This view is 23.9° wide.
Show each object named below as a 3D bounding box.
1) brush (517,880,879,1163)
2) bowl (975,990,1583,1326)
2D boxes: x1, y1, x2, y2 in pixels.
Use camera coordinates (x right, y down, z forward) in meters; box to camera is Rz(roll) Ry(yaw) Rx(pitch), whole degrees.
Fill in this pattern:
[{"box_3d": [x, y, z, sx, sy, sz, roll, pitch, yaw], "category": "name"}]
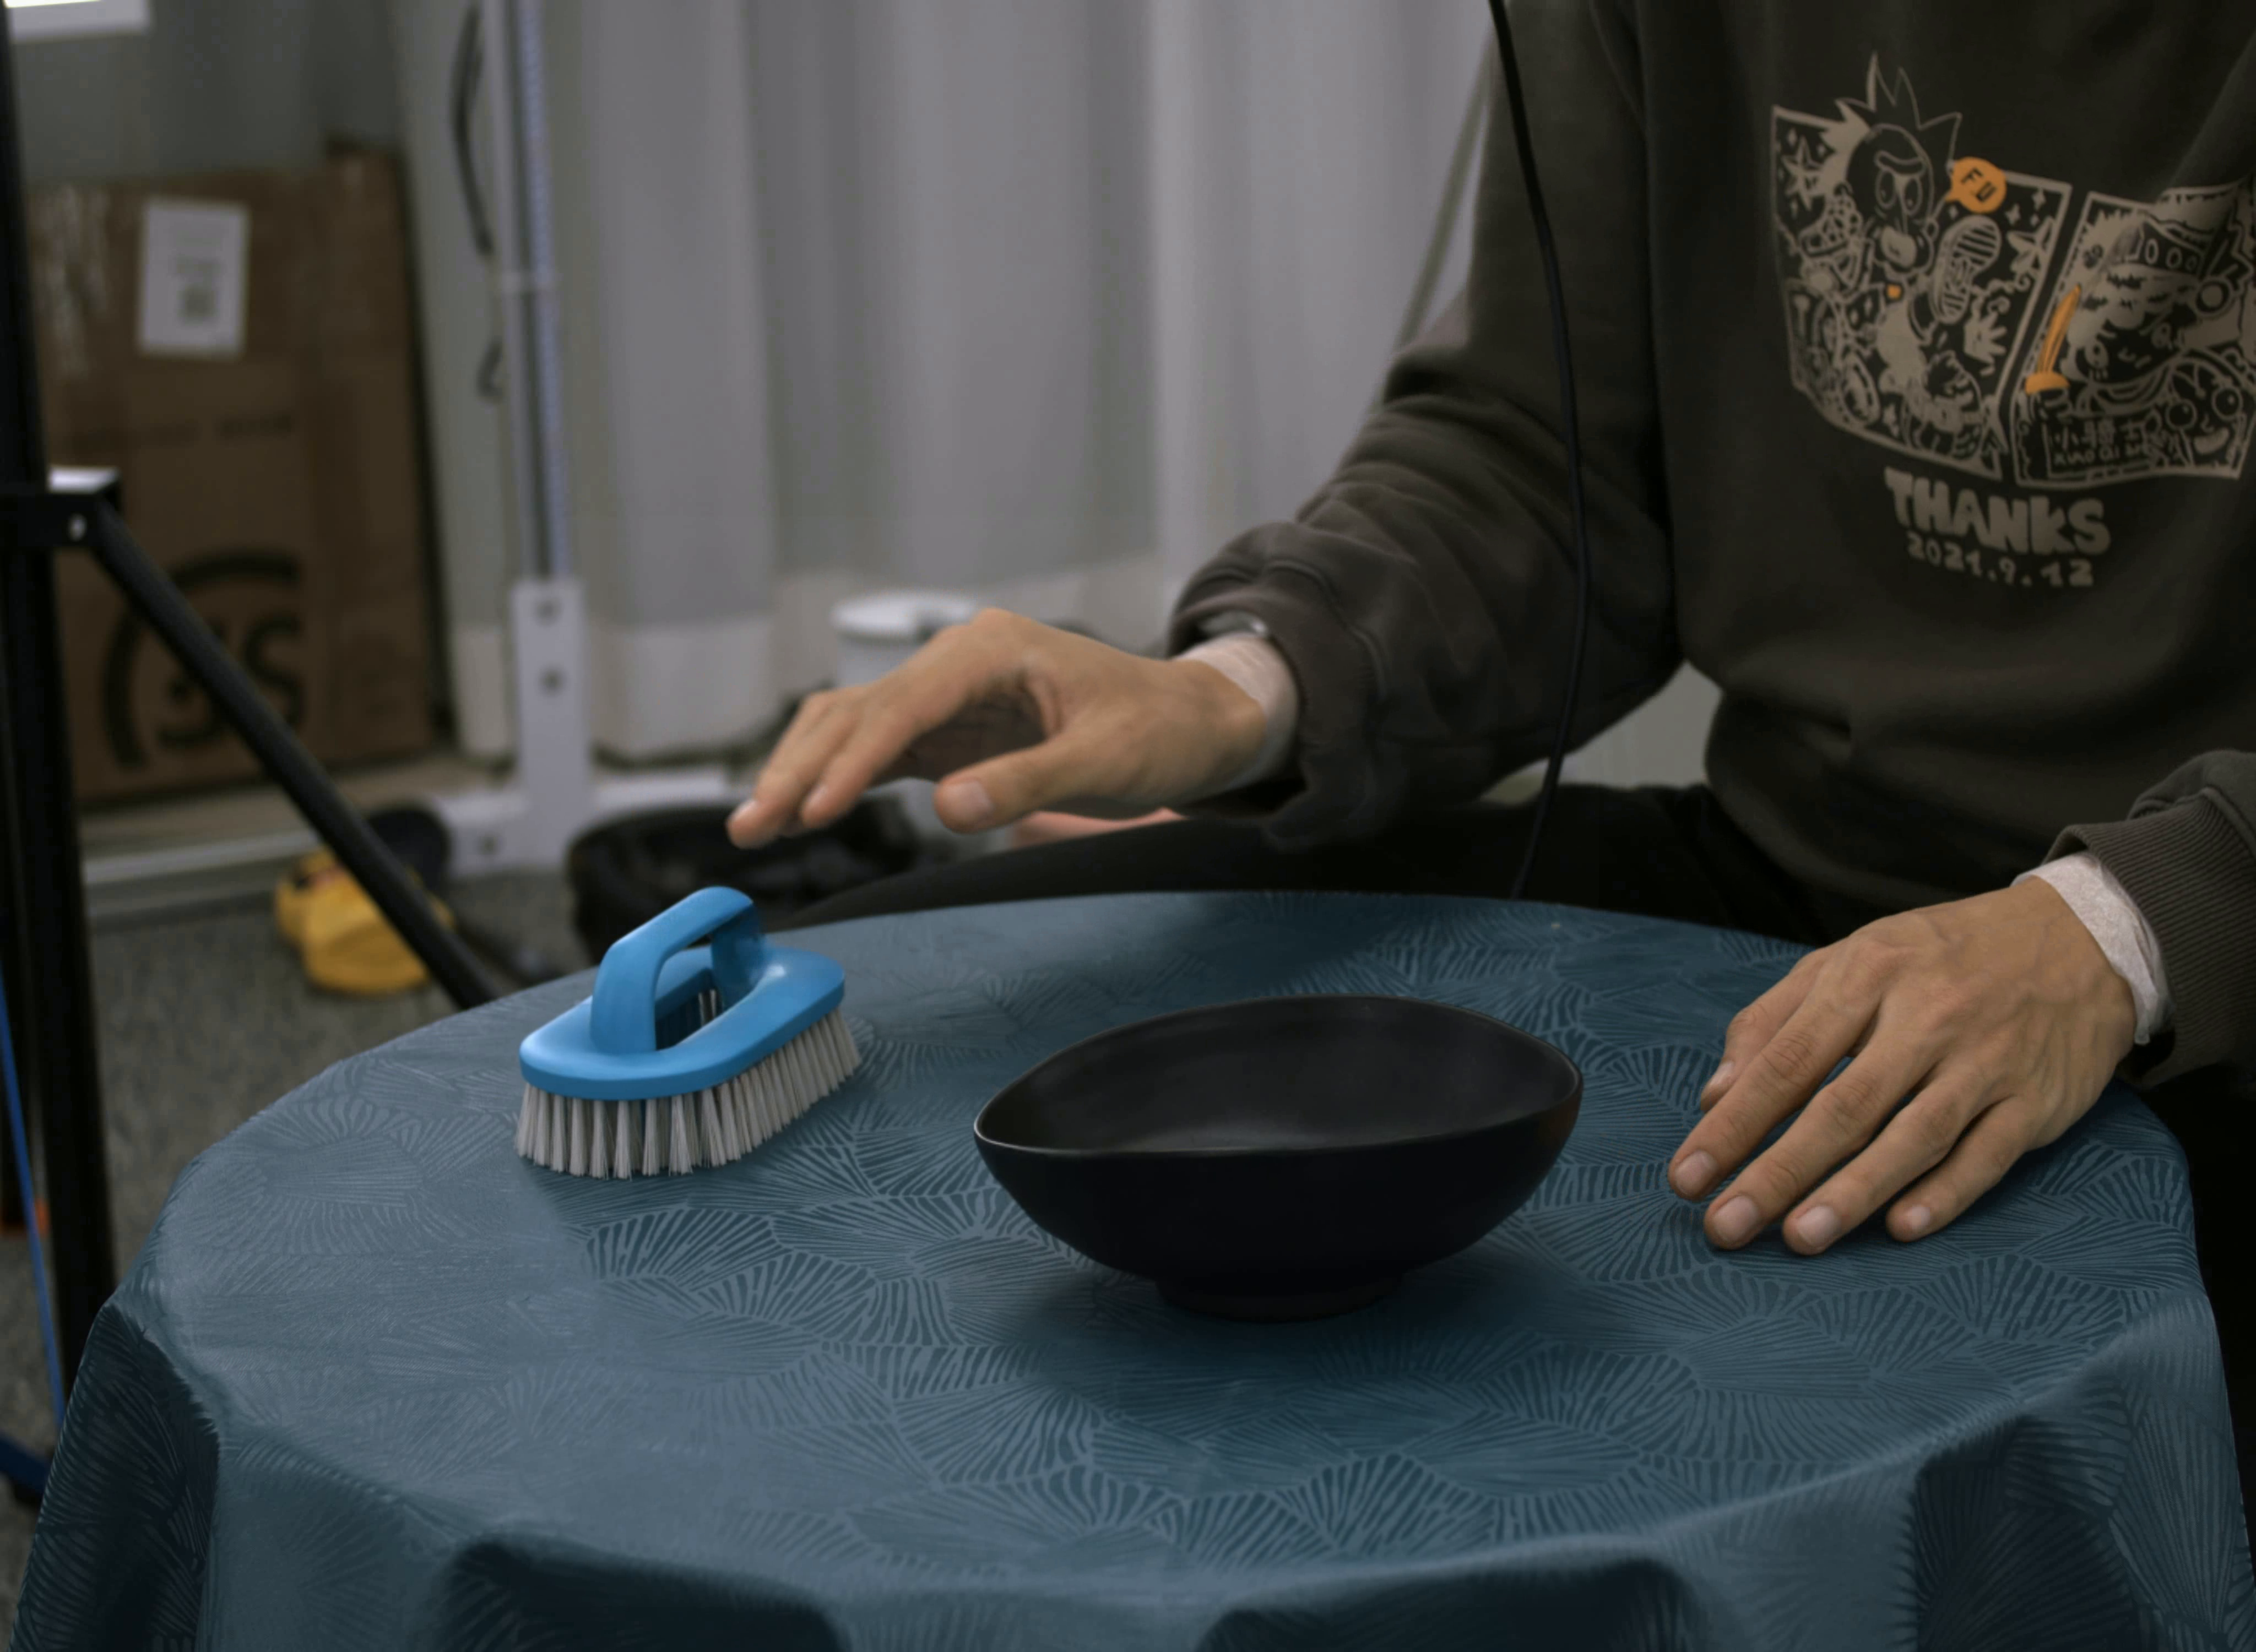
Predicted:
[{"box_3d": [-0.135, 0.055, 1.652, 0.085, 0.064, 0.139, 0, 14, 26], "category": "brush"}, {"box_3d": [0.043, 0.098, 1.476, 0.170, 0.066, 0.138, -4, 15, 3], "category": "bowl"}]
